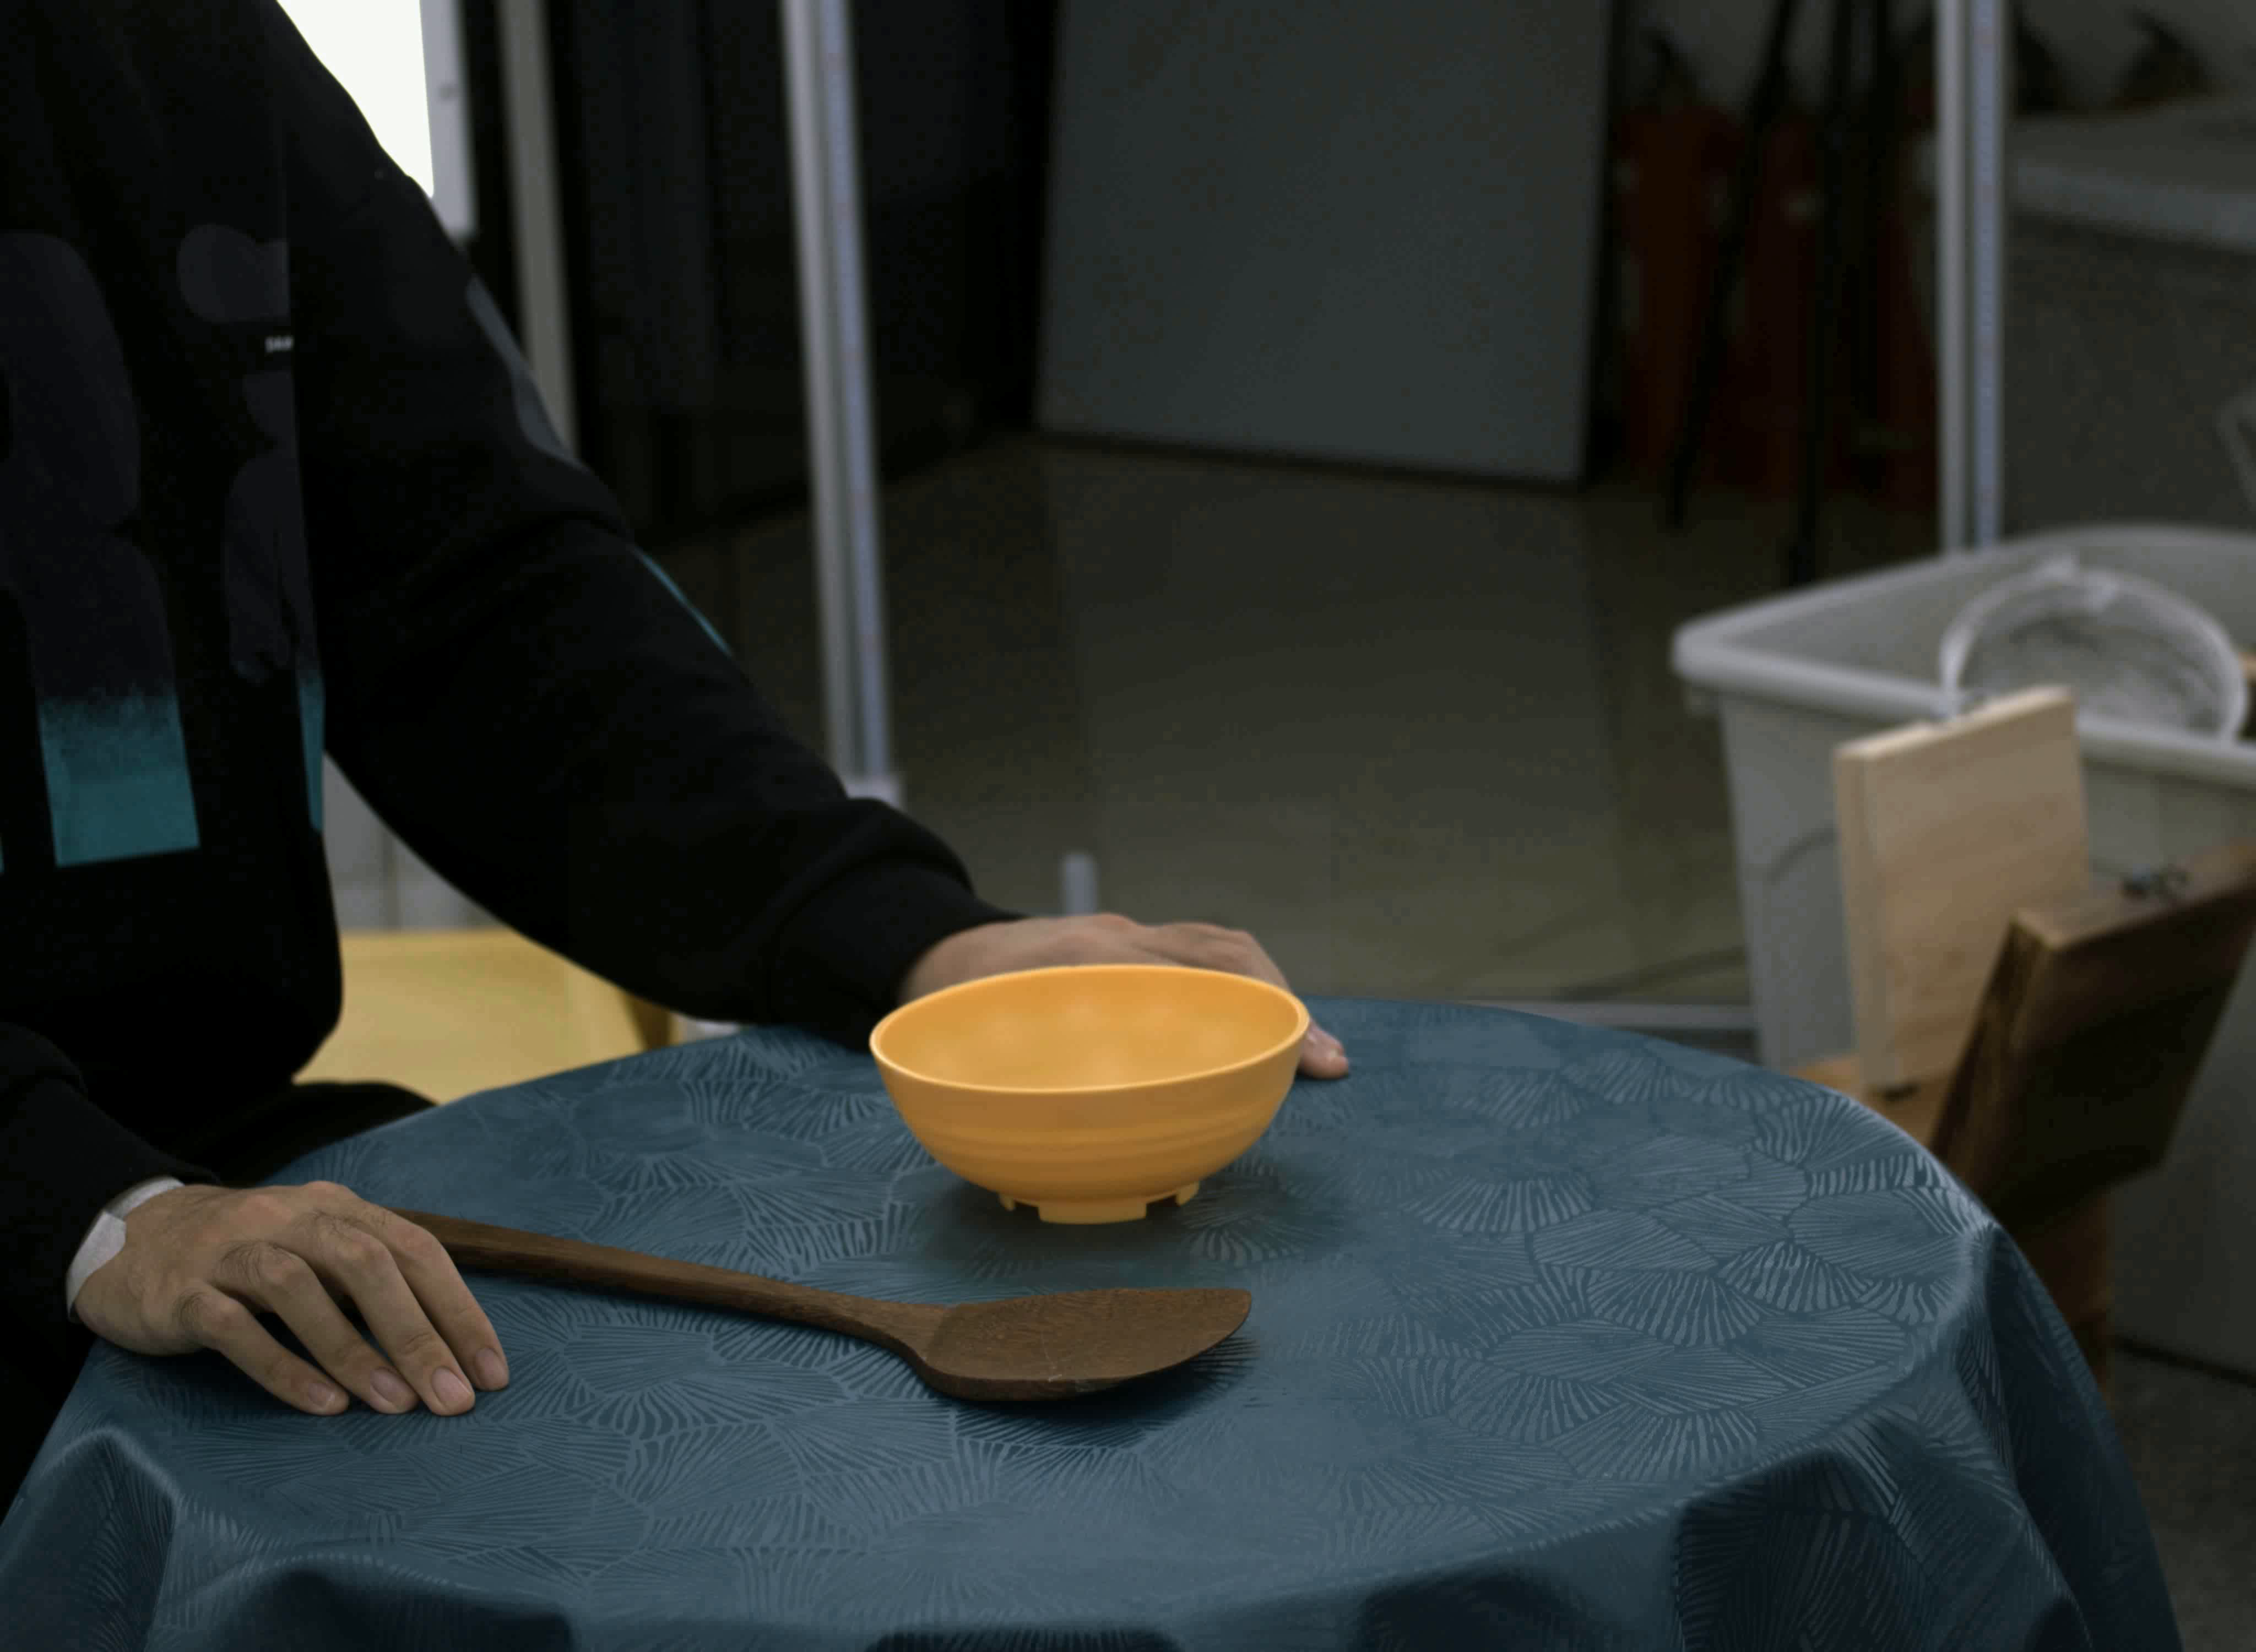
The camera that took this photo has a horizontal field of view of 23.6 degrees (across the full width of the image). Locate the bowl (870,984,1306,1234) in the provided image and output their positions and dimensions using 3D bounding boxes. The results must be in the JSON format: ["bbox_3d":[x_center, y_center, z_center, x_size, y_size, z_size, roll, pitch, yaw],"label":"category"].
[{"bbox_3d":[-0.012,0.096,1.763,0.143,0.061,0.145,-3,11,0],"label":"bowl"}]

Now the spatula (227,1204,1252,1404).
[{"bbox_3d":[-0.136,0.145,1.689,0.388,0.016,0.094,5,16,34],"label":"spatula"}]
